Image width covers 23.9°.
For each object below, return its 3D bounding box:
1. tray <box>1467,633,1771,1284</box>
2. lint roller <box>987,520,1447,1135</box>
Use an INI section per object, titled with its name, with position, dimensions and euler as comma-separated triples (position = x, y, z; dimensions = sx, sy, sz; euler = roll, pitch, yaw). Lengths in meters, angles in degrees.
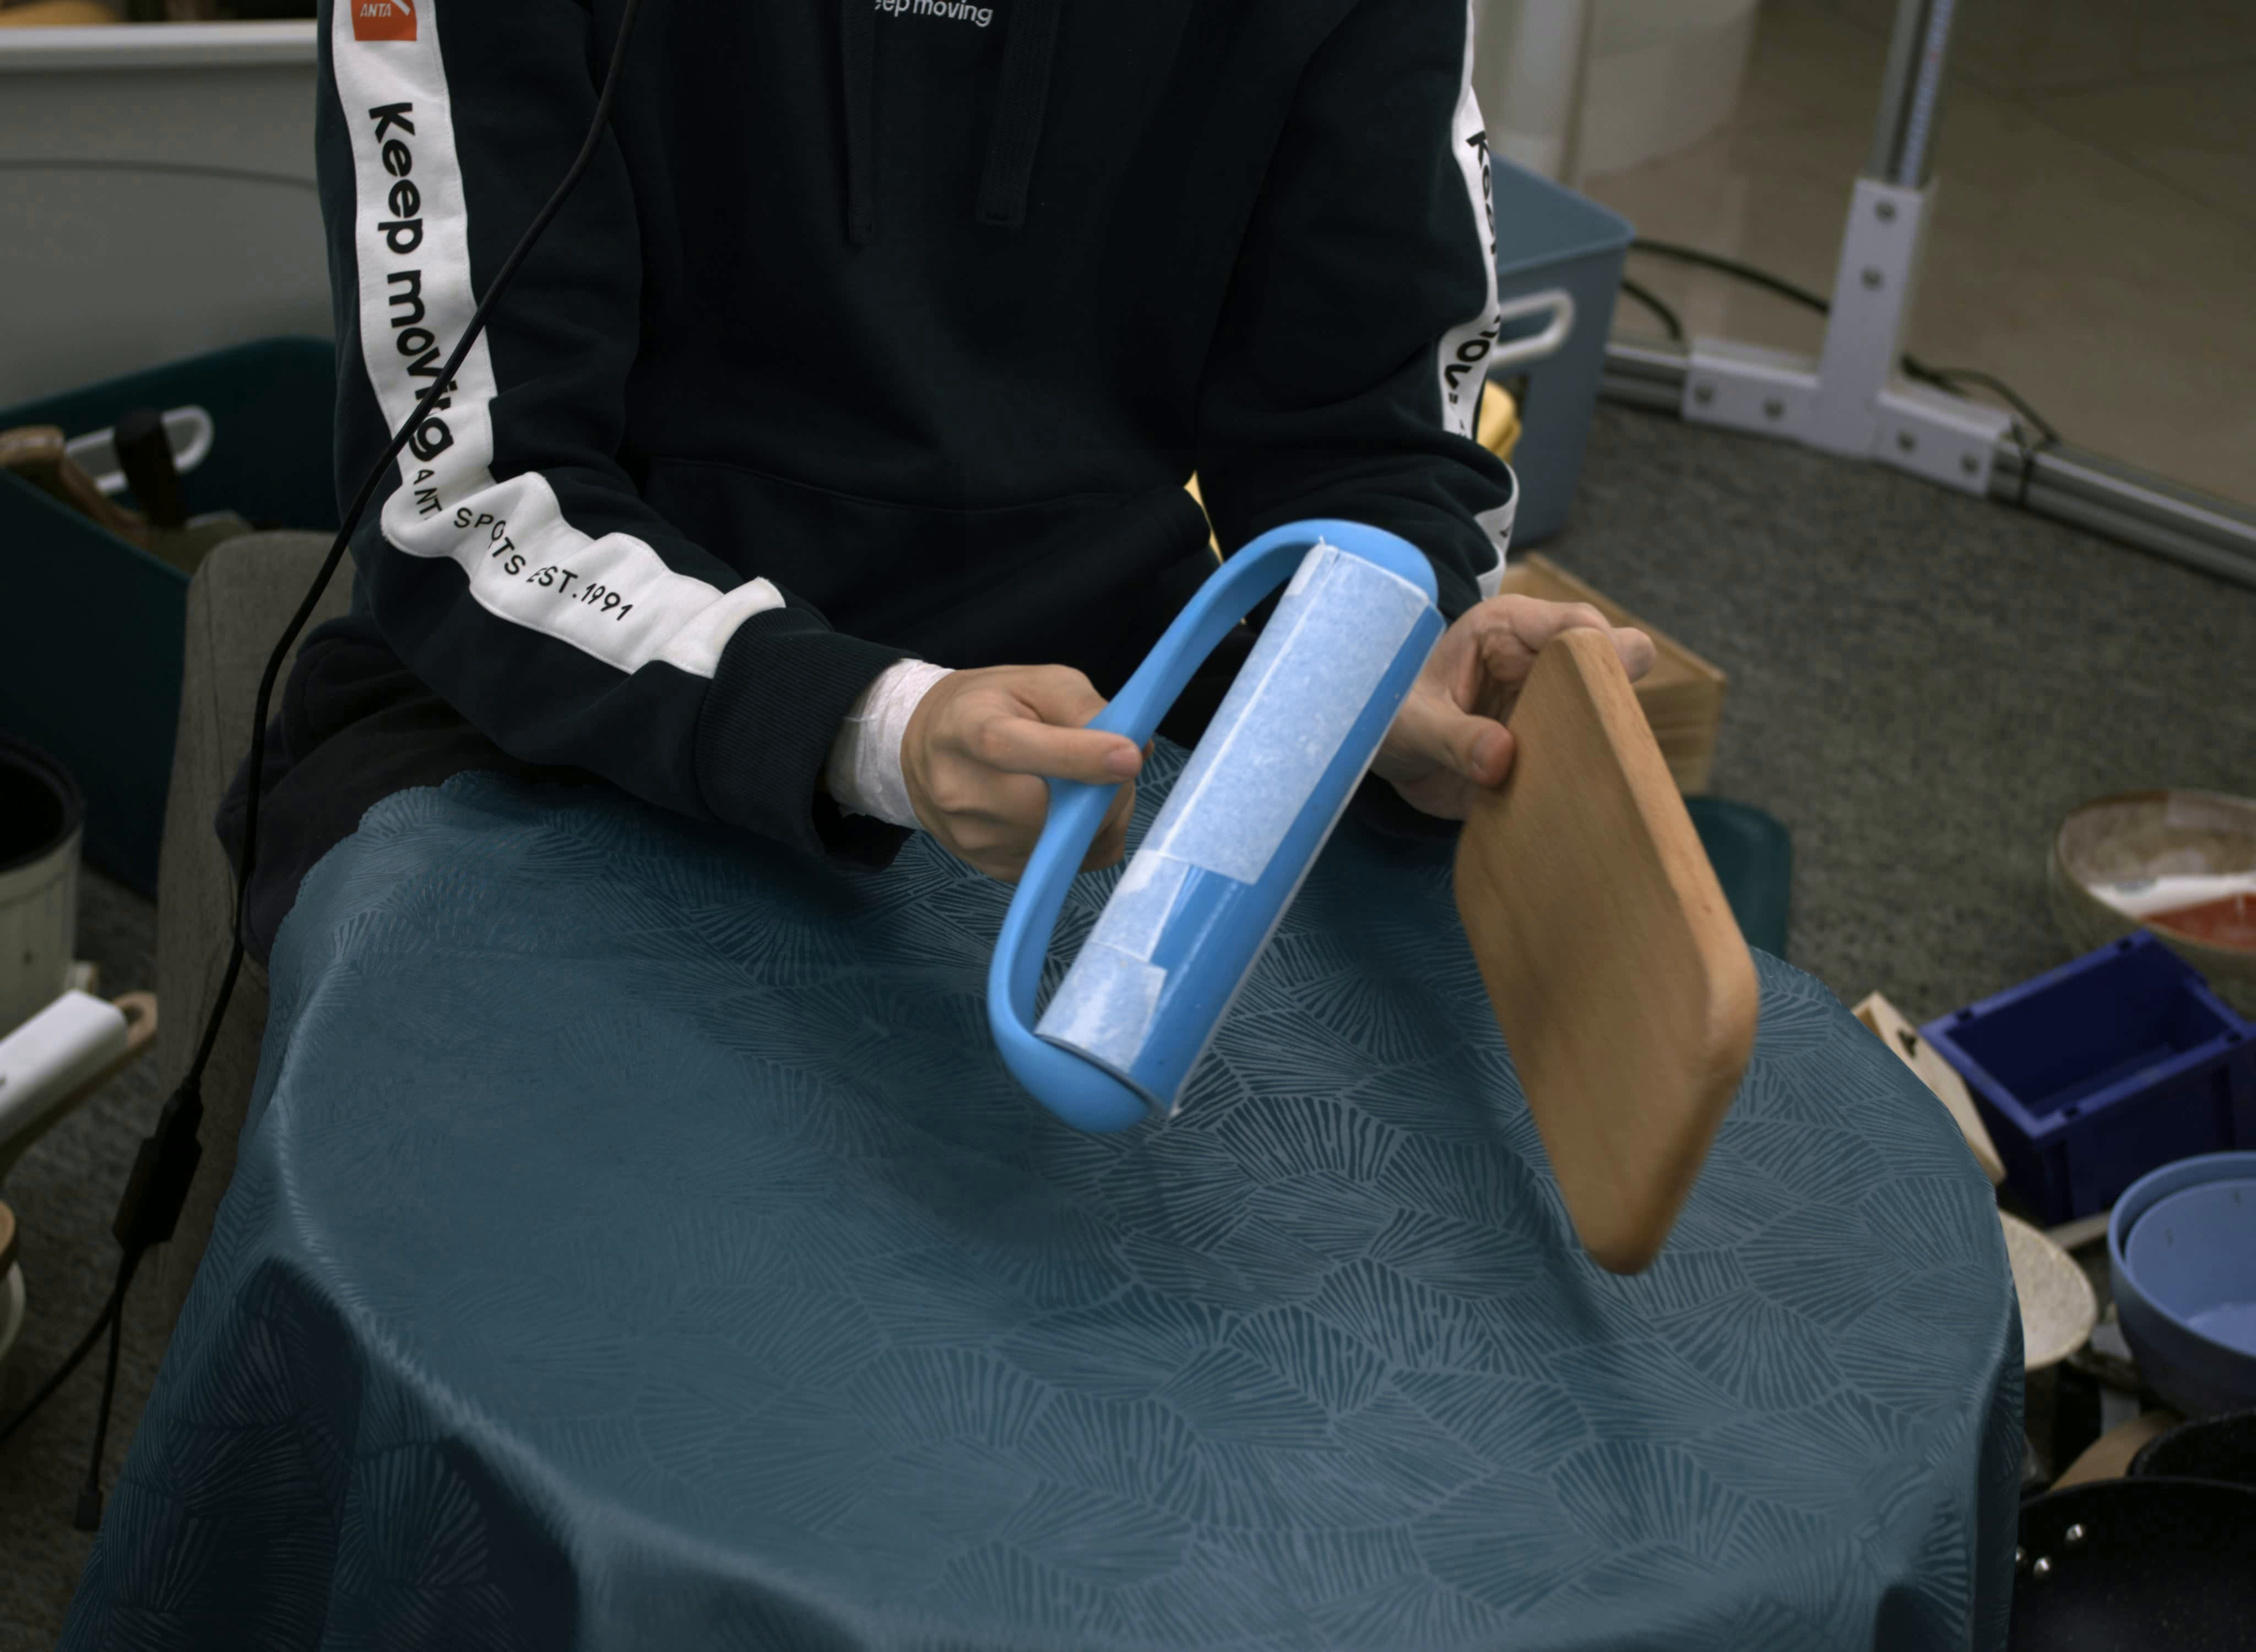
[tray]
position = 0.163, 0.041, 1.813
dimensions = 0.023, 0.130, 0.253
euler = 10, 29, -19
[lint roller]
position = 0.002, -0.005, 1.815
dimensions = 0.067, 0.229, 0.181
euler = 37, -16, -32
